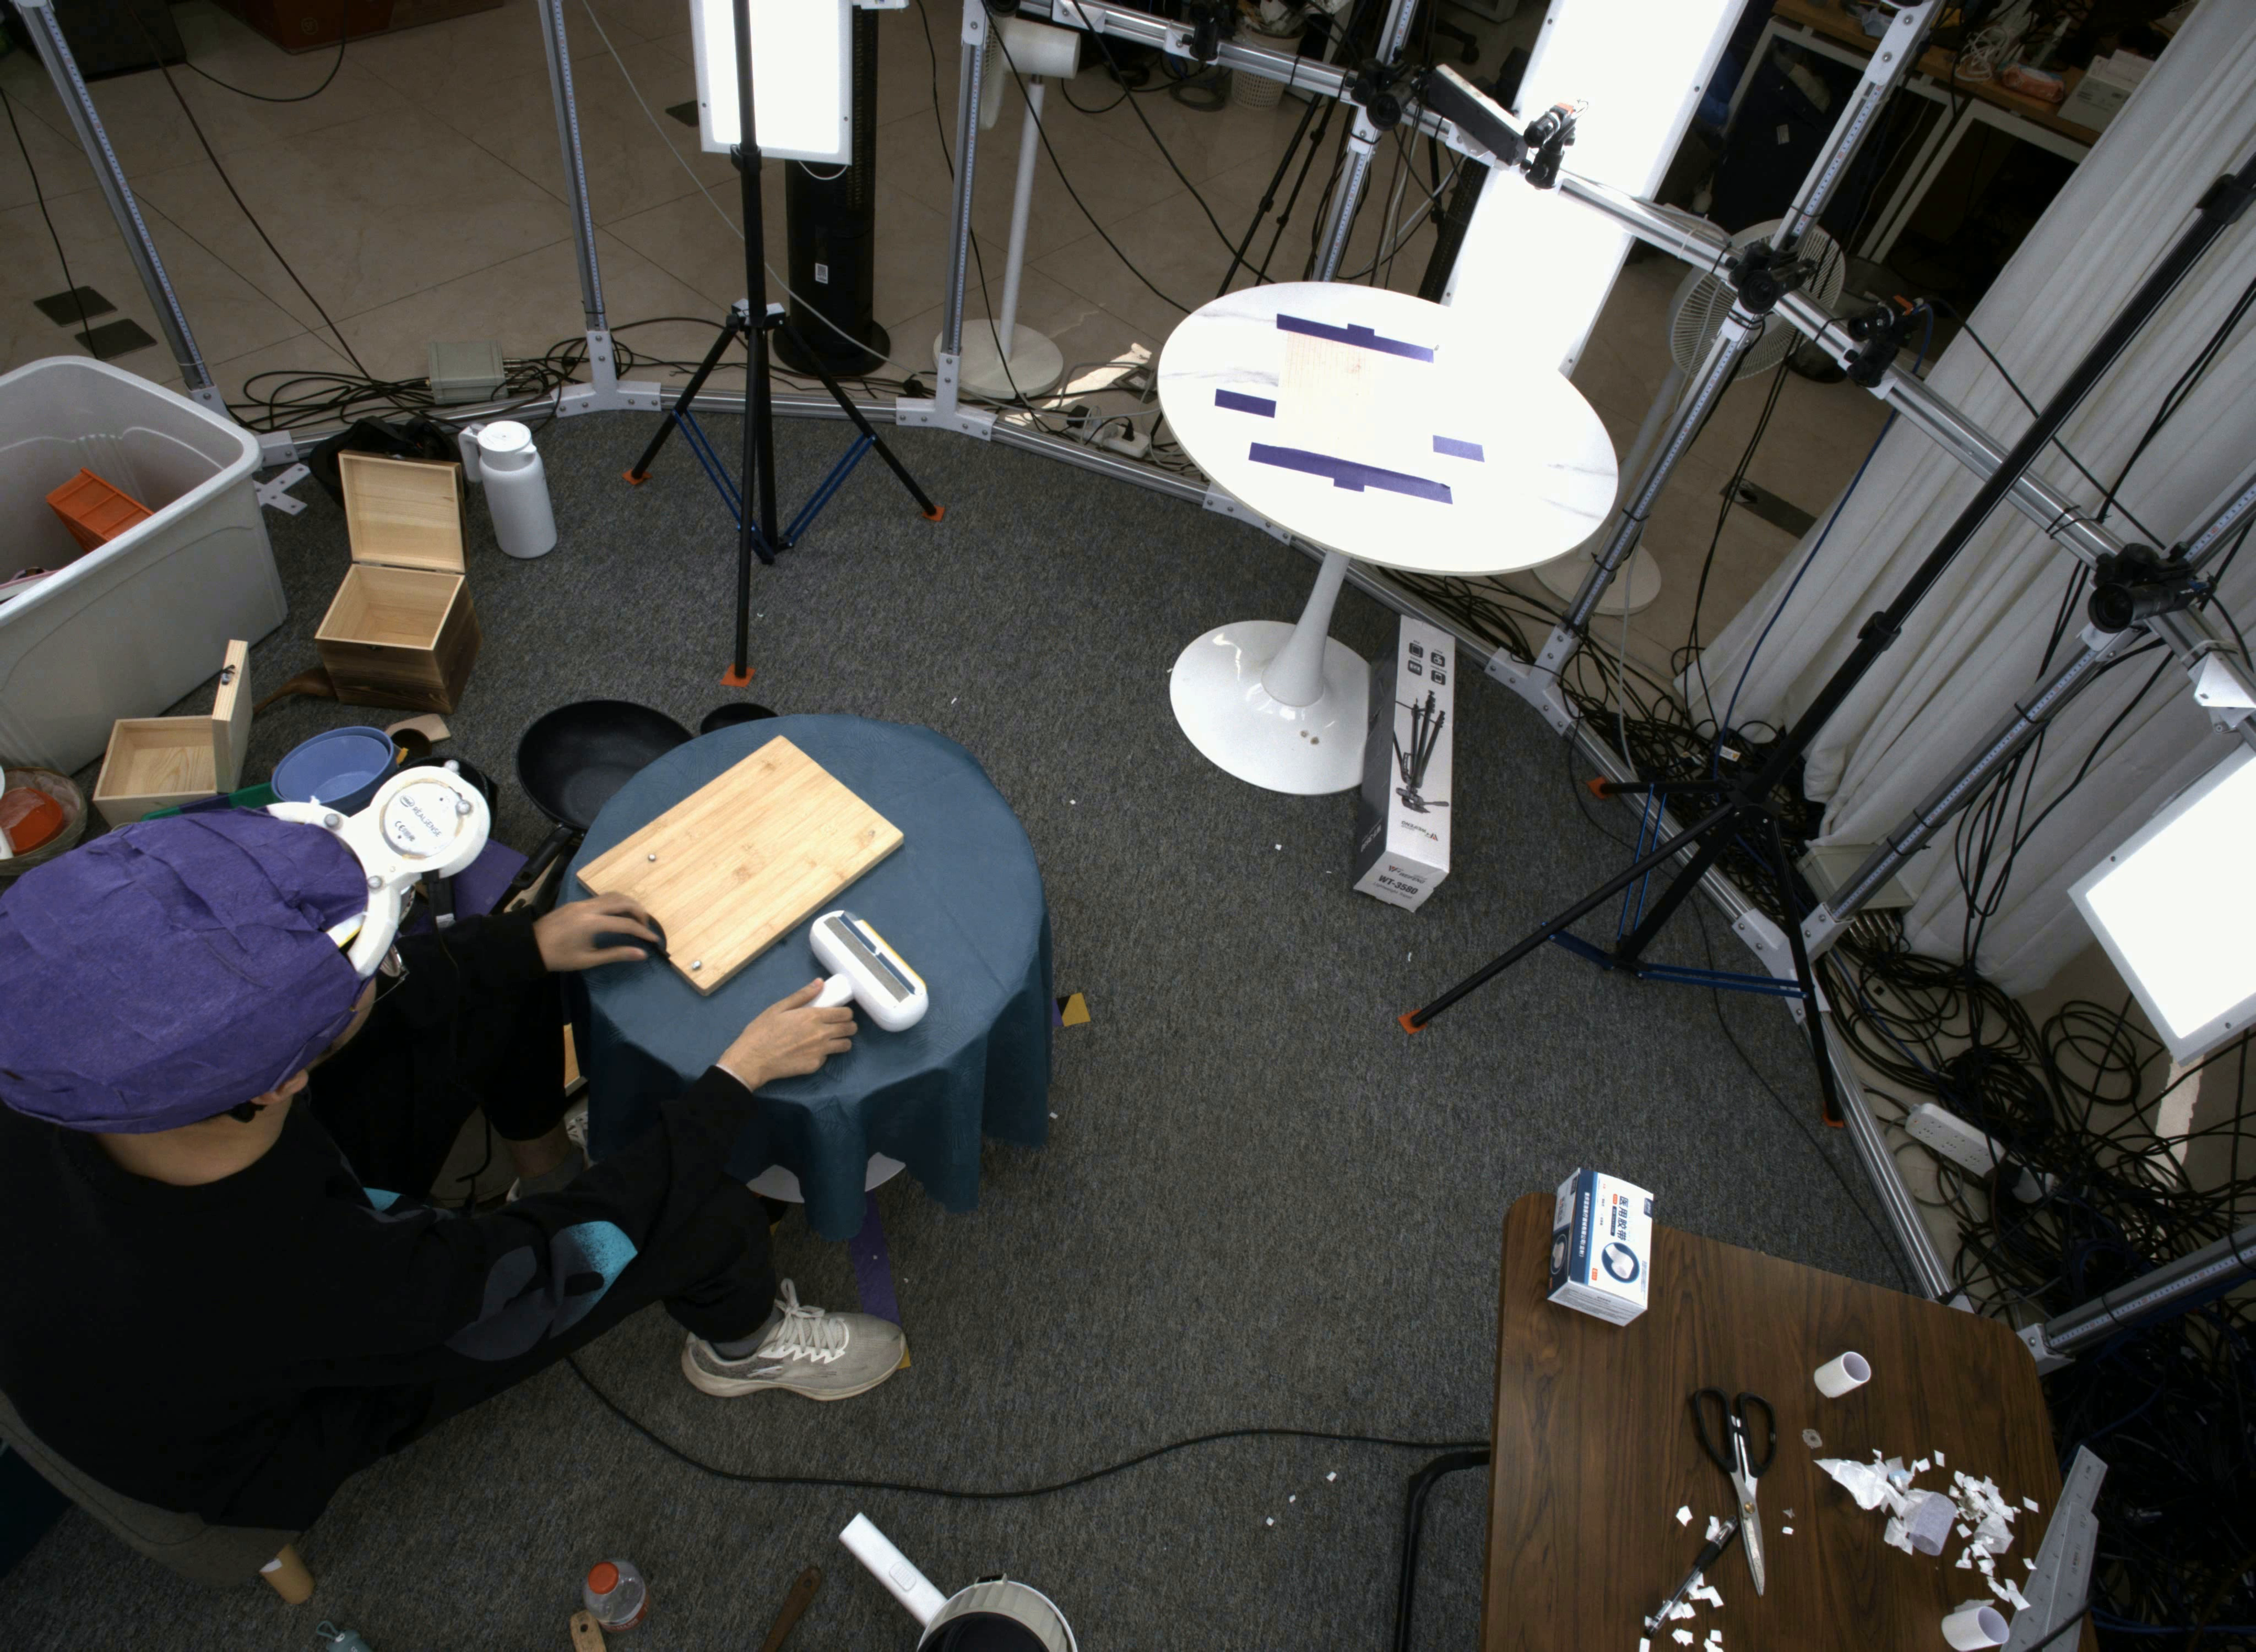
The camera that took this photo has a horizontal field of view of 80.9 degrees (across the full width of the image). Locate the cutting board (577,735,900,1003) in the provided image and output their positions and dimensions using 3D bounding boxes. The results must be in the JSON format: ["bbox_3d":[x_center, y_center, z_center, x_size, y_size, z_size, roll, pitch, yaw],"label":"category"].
[{"bbox_3d":[-0.498,0.043,1.668,0.246,0.024,0.348,37,54,13],"label":"cutting board"}]

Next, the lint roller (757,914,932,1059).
[{"bbox_3d":[-0.357,0.206,1.552,0.193,0.076,0.187,-28,58,-28],"label":"lint roller"}]
